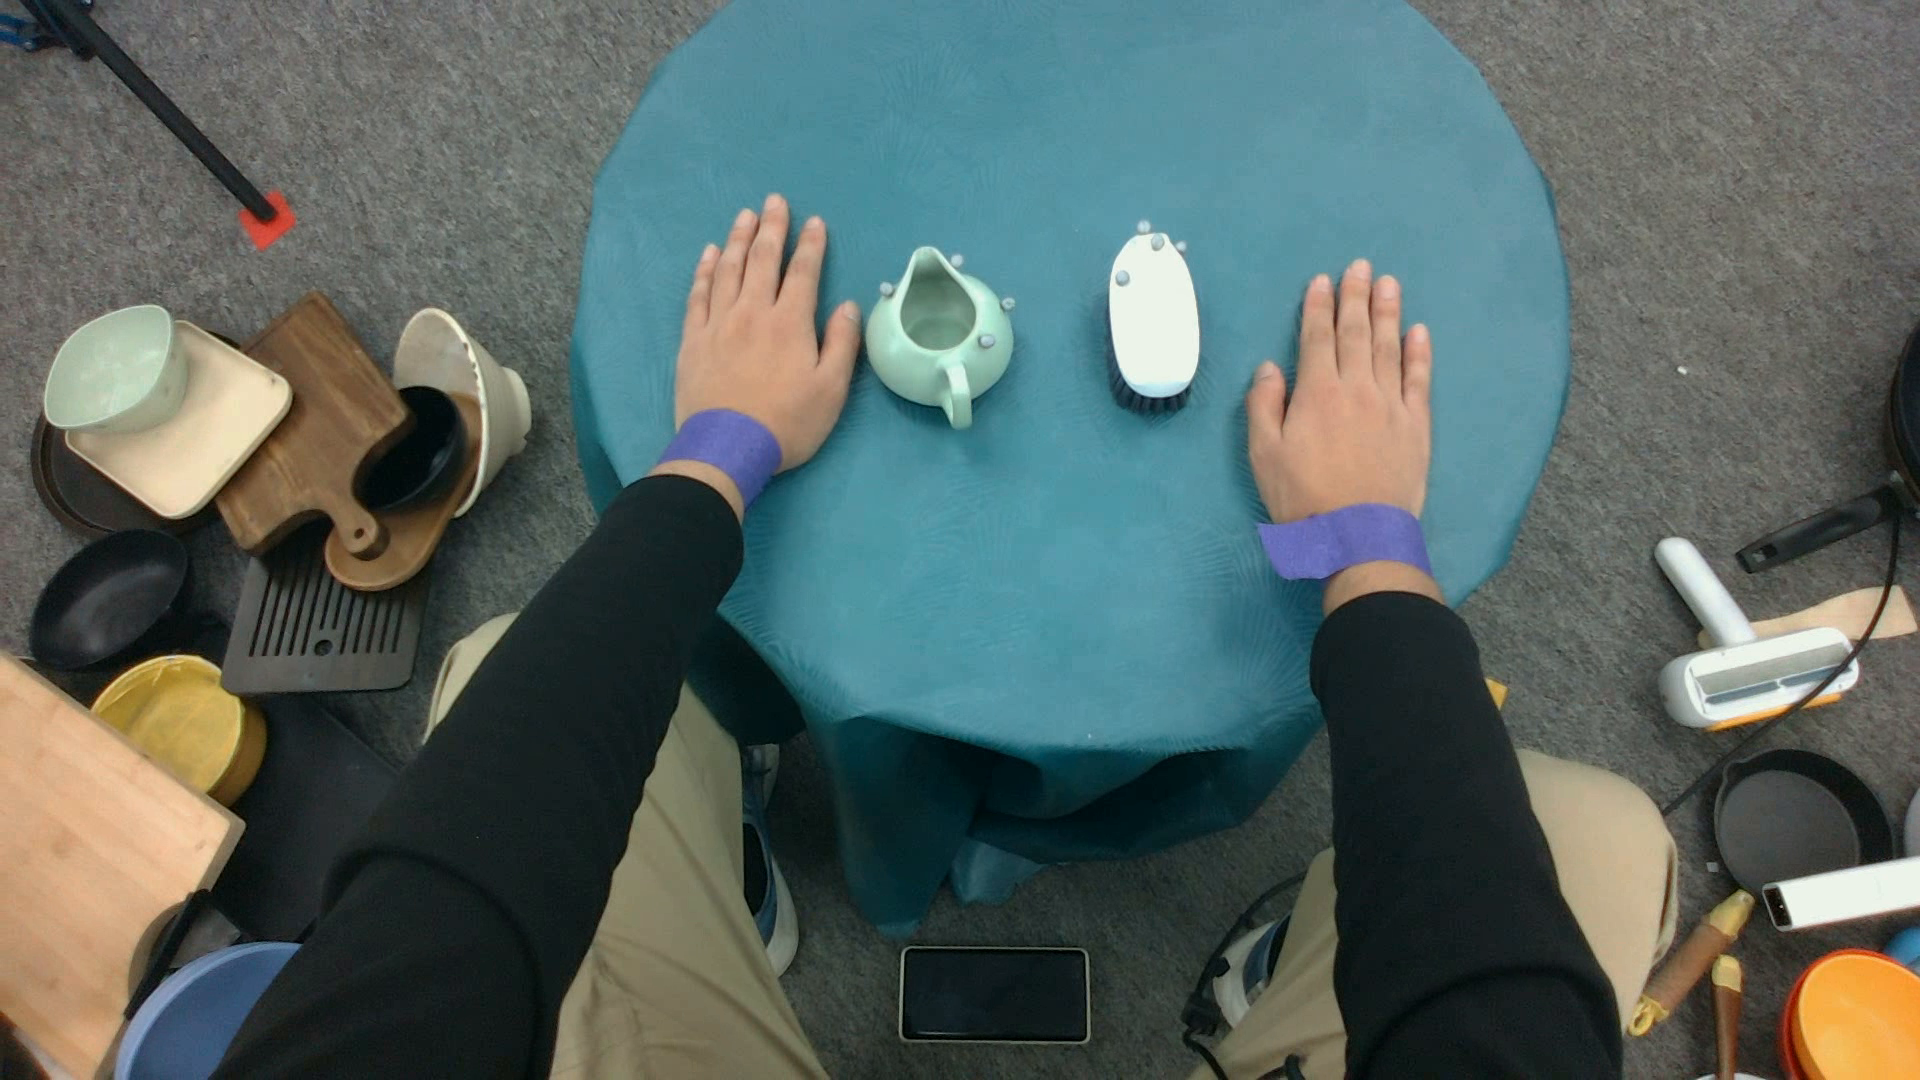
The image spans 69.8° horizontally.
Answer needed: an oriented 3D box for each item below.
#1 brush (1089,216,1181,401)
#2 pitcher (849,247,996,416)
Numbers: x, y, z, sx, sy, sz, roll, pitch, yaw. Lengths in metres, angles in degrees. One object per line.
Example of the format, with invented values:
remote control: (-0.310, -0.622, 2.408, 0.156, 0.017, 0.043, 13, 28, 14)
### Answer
brush: (0.101, -0.139, 0.787, 0.050, 0.072, 0.099, -2, 69, 1)
pitcher: (-0.019, -0.110, 0.781, 0.086, 0.060, 0.108, 5, 53, -10)
